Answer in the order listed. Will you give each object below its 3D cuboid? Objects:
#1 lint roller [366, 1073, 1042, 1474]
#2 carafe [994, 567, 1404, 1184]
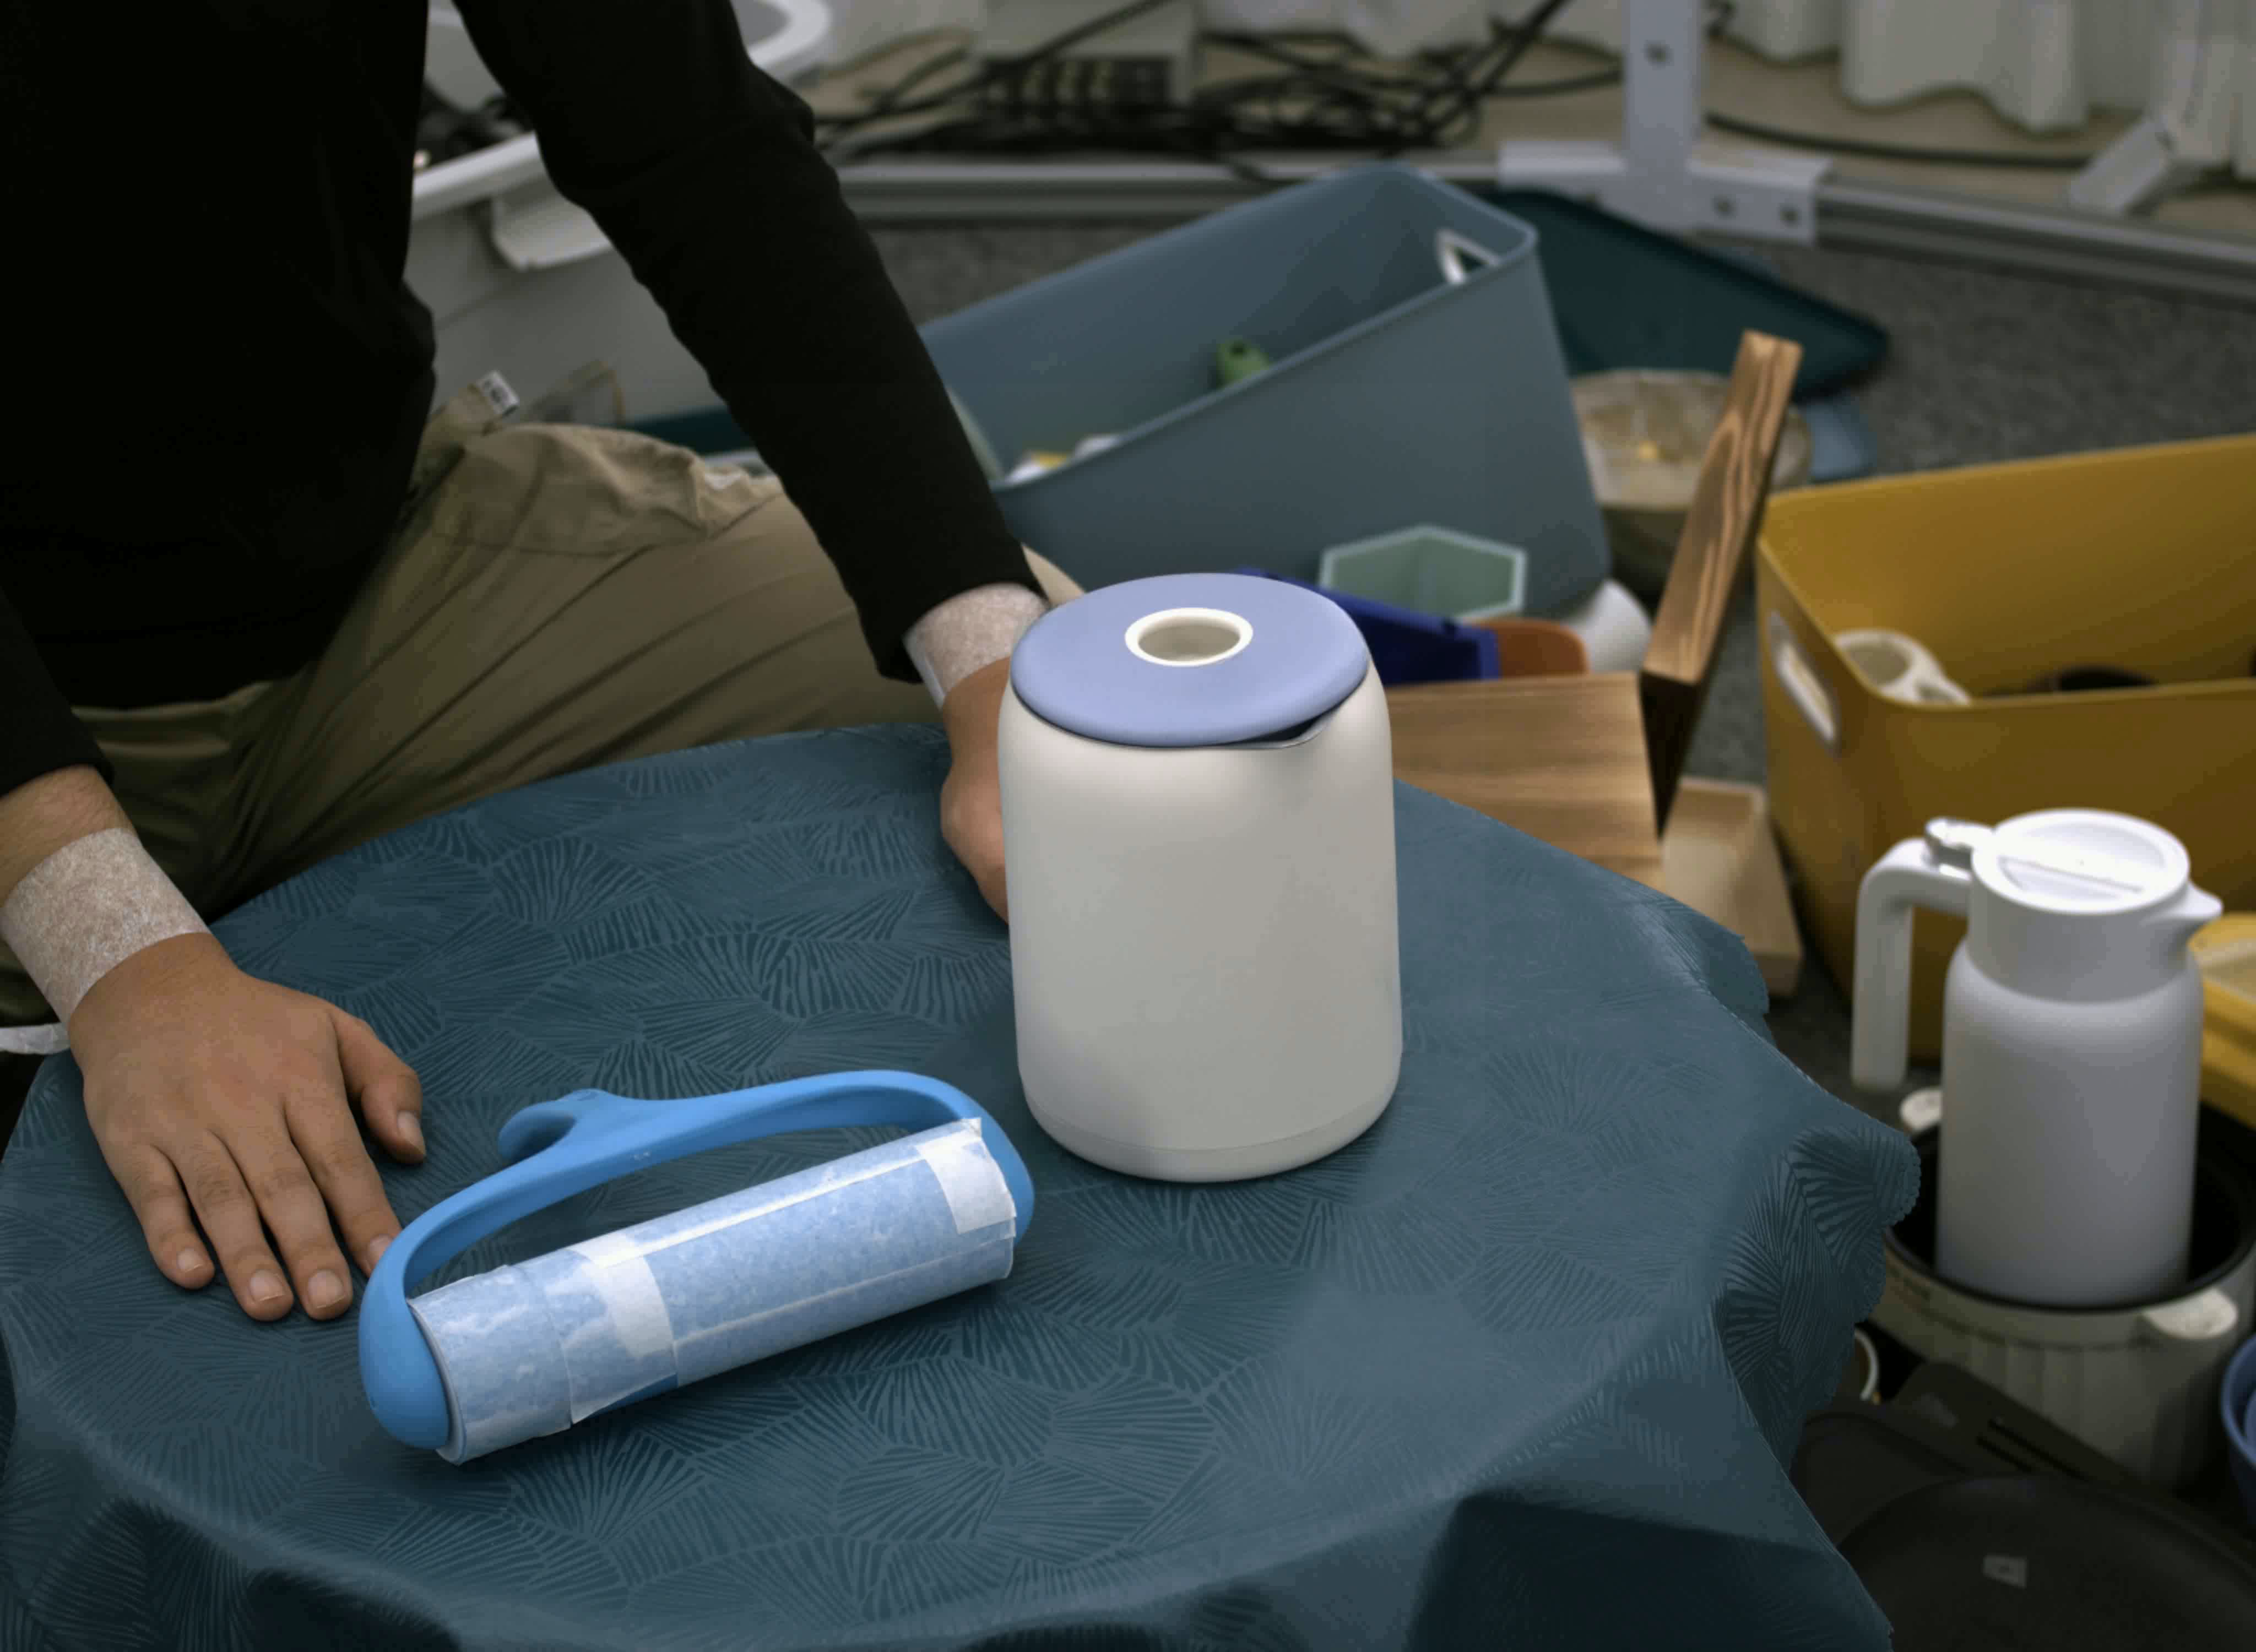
[{"bbox_3d":[-0.161,0.121,1.814,0.230,0.067,0.181,-20,36,-25],"label":"lint roller"},{"bbox_3d":[0.011,0.007,1.896,0.133,0.181,0.191,-18,28,-28],"label":"carafe"}]
